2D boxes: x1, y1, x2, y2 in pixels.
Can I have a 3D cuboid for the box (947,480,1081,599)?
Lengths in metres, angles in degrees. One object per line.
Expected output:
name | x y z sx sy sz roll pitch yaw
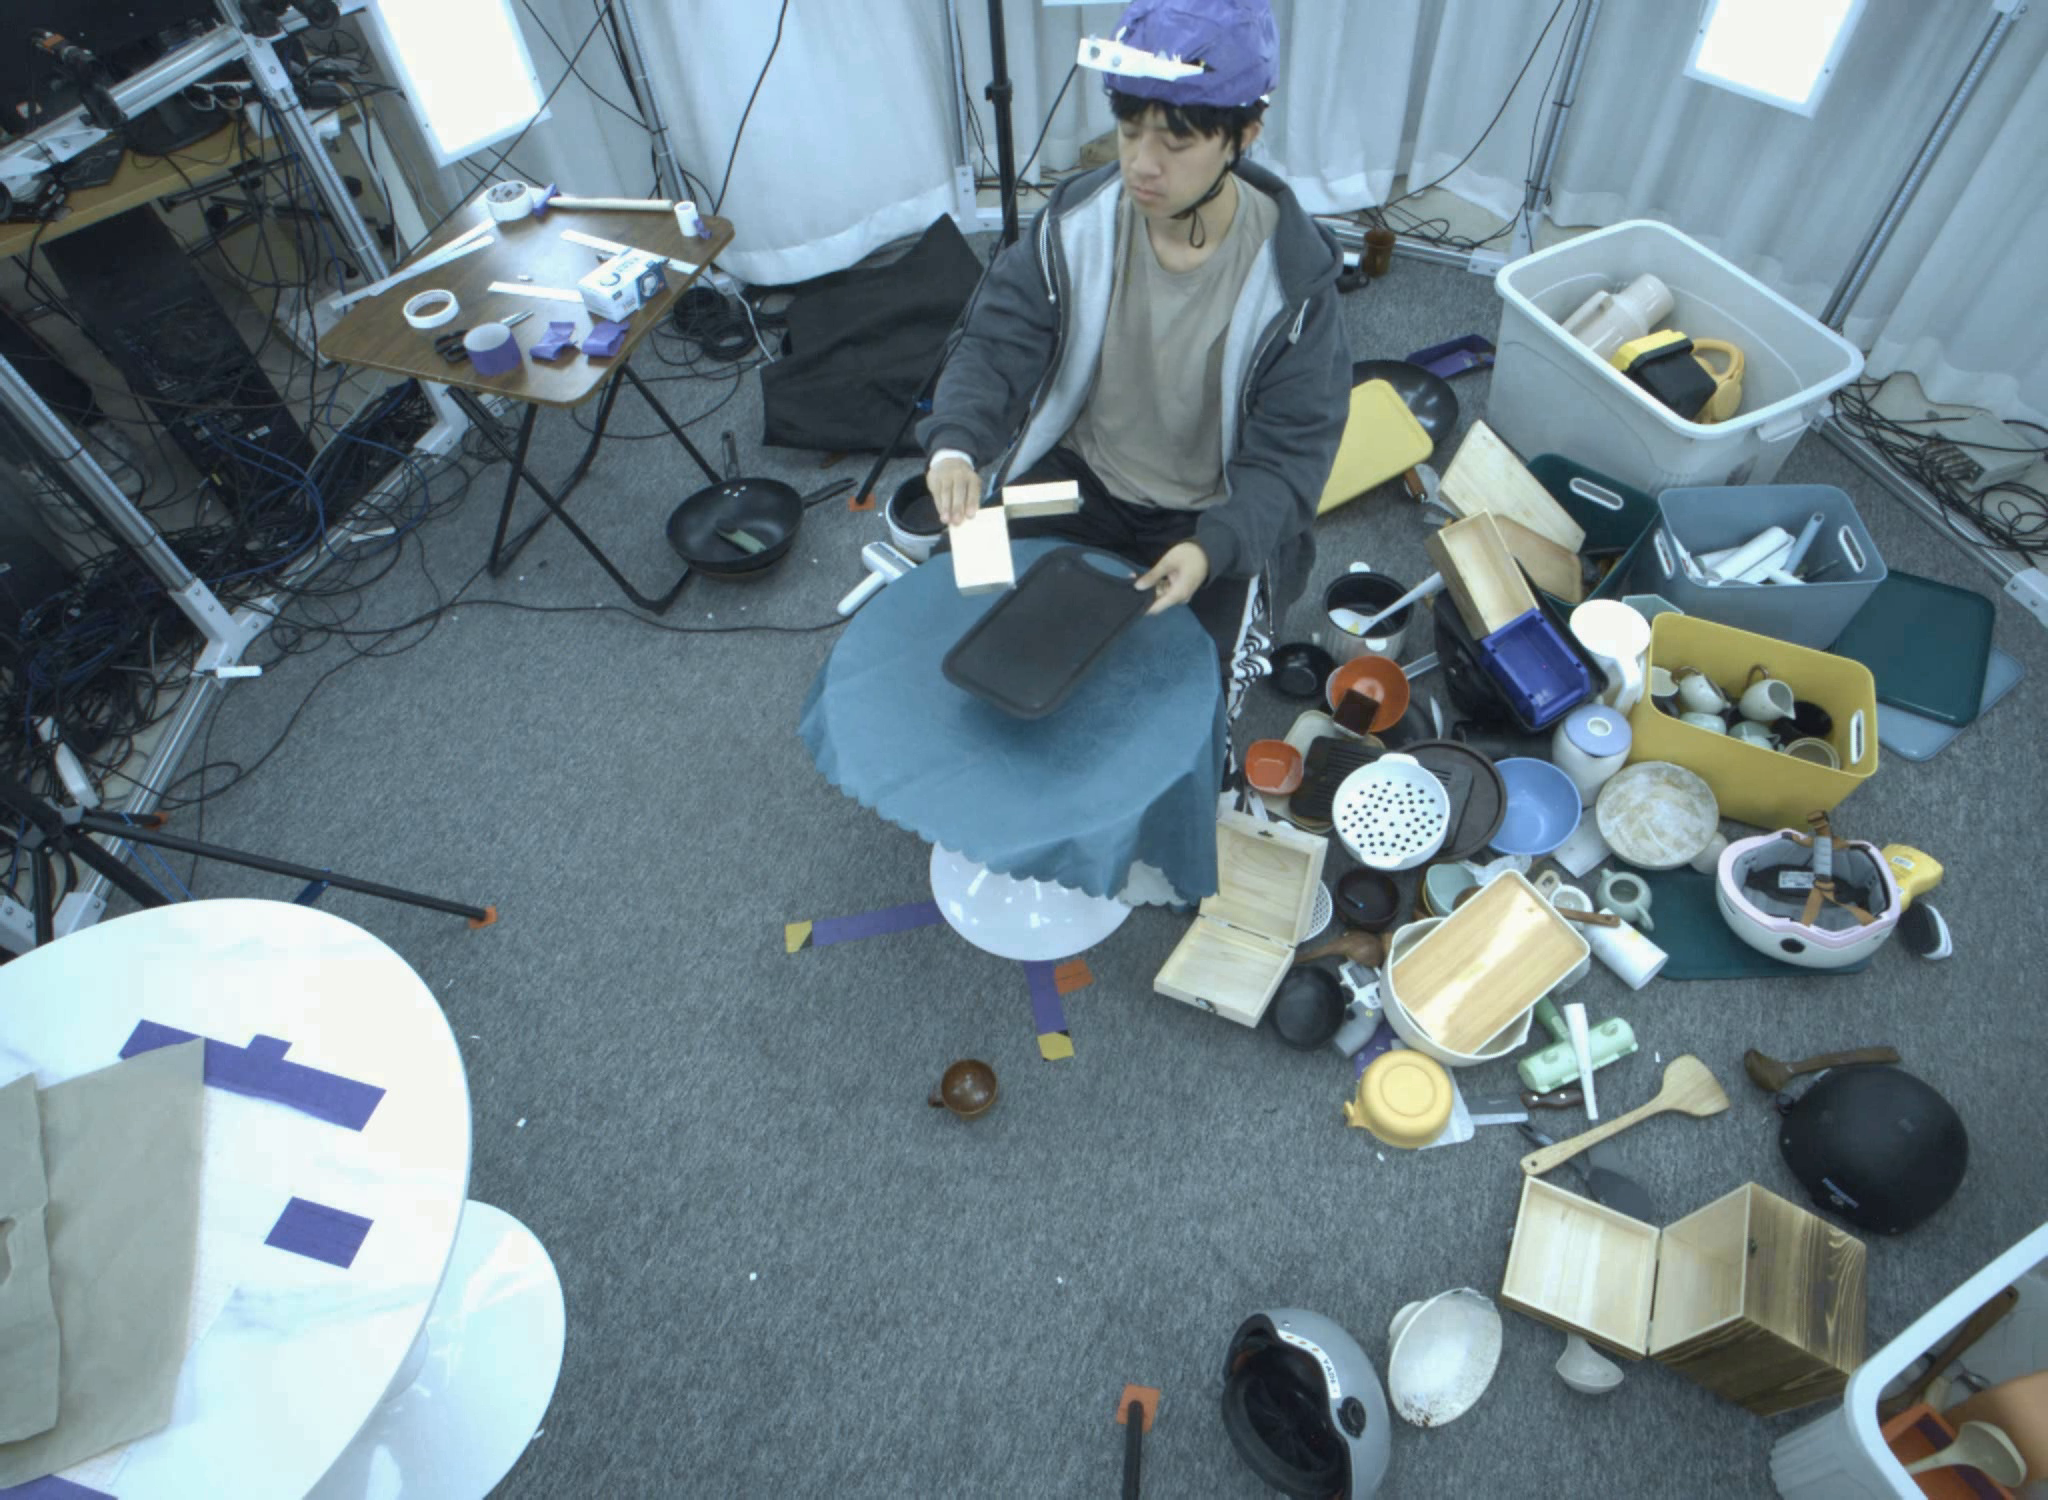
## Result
box | -0.006 -0.288 1.695 0.184 0.102 0.134 -10 91 1

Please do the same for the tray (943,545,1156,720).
tray | 0.041 -0.185 1.794 0.207 0.010 0.327 30 65 29
